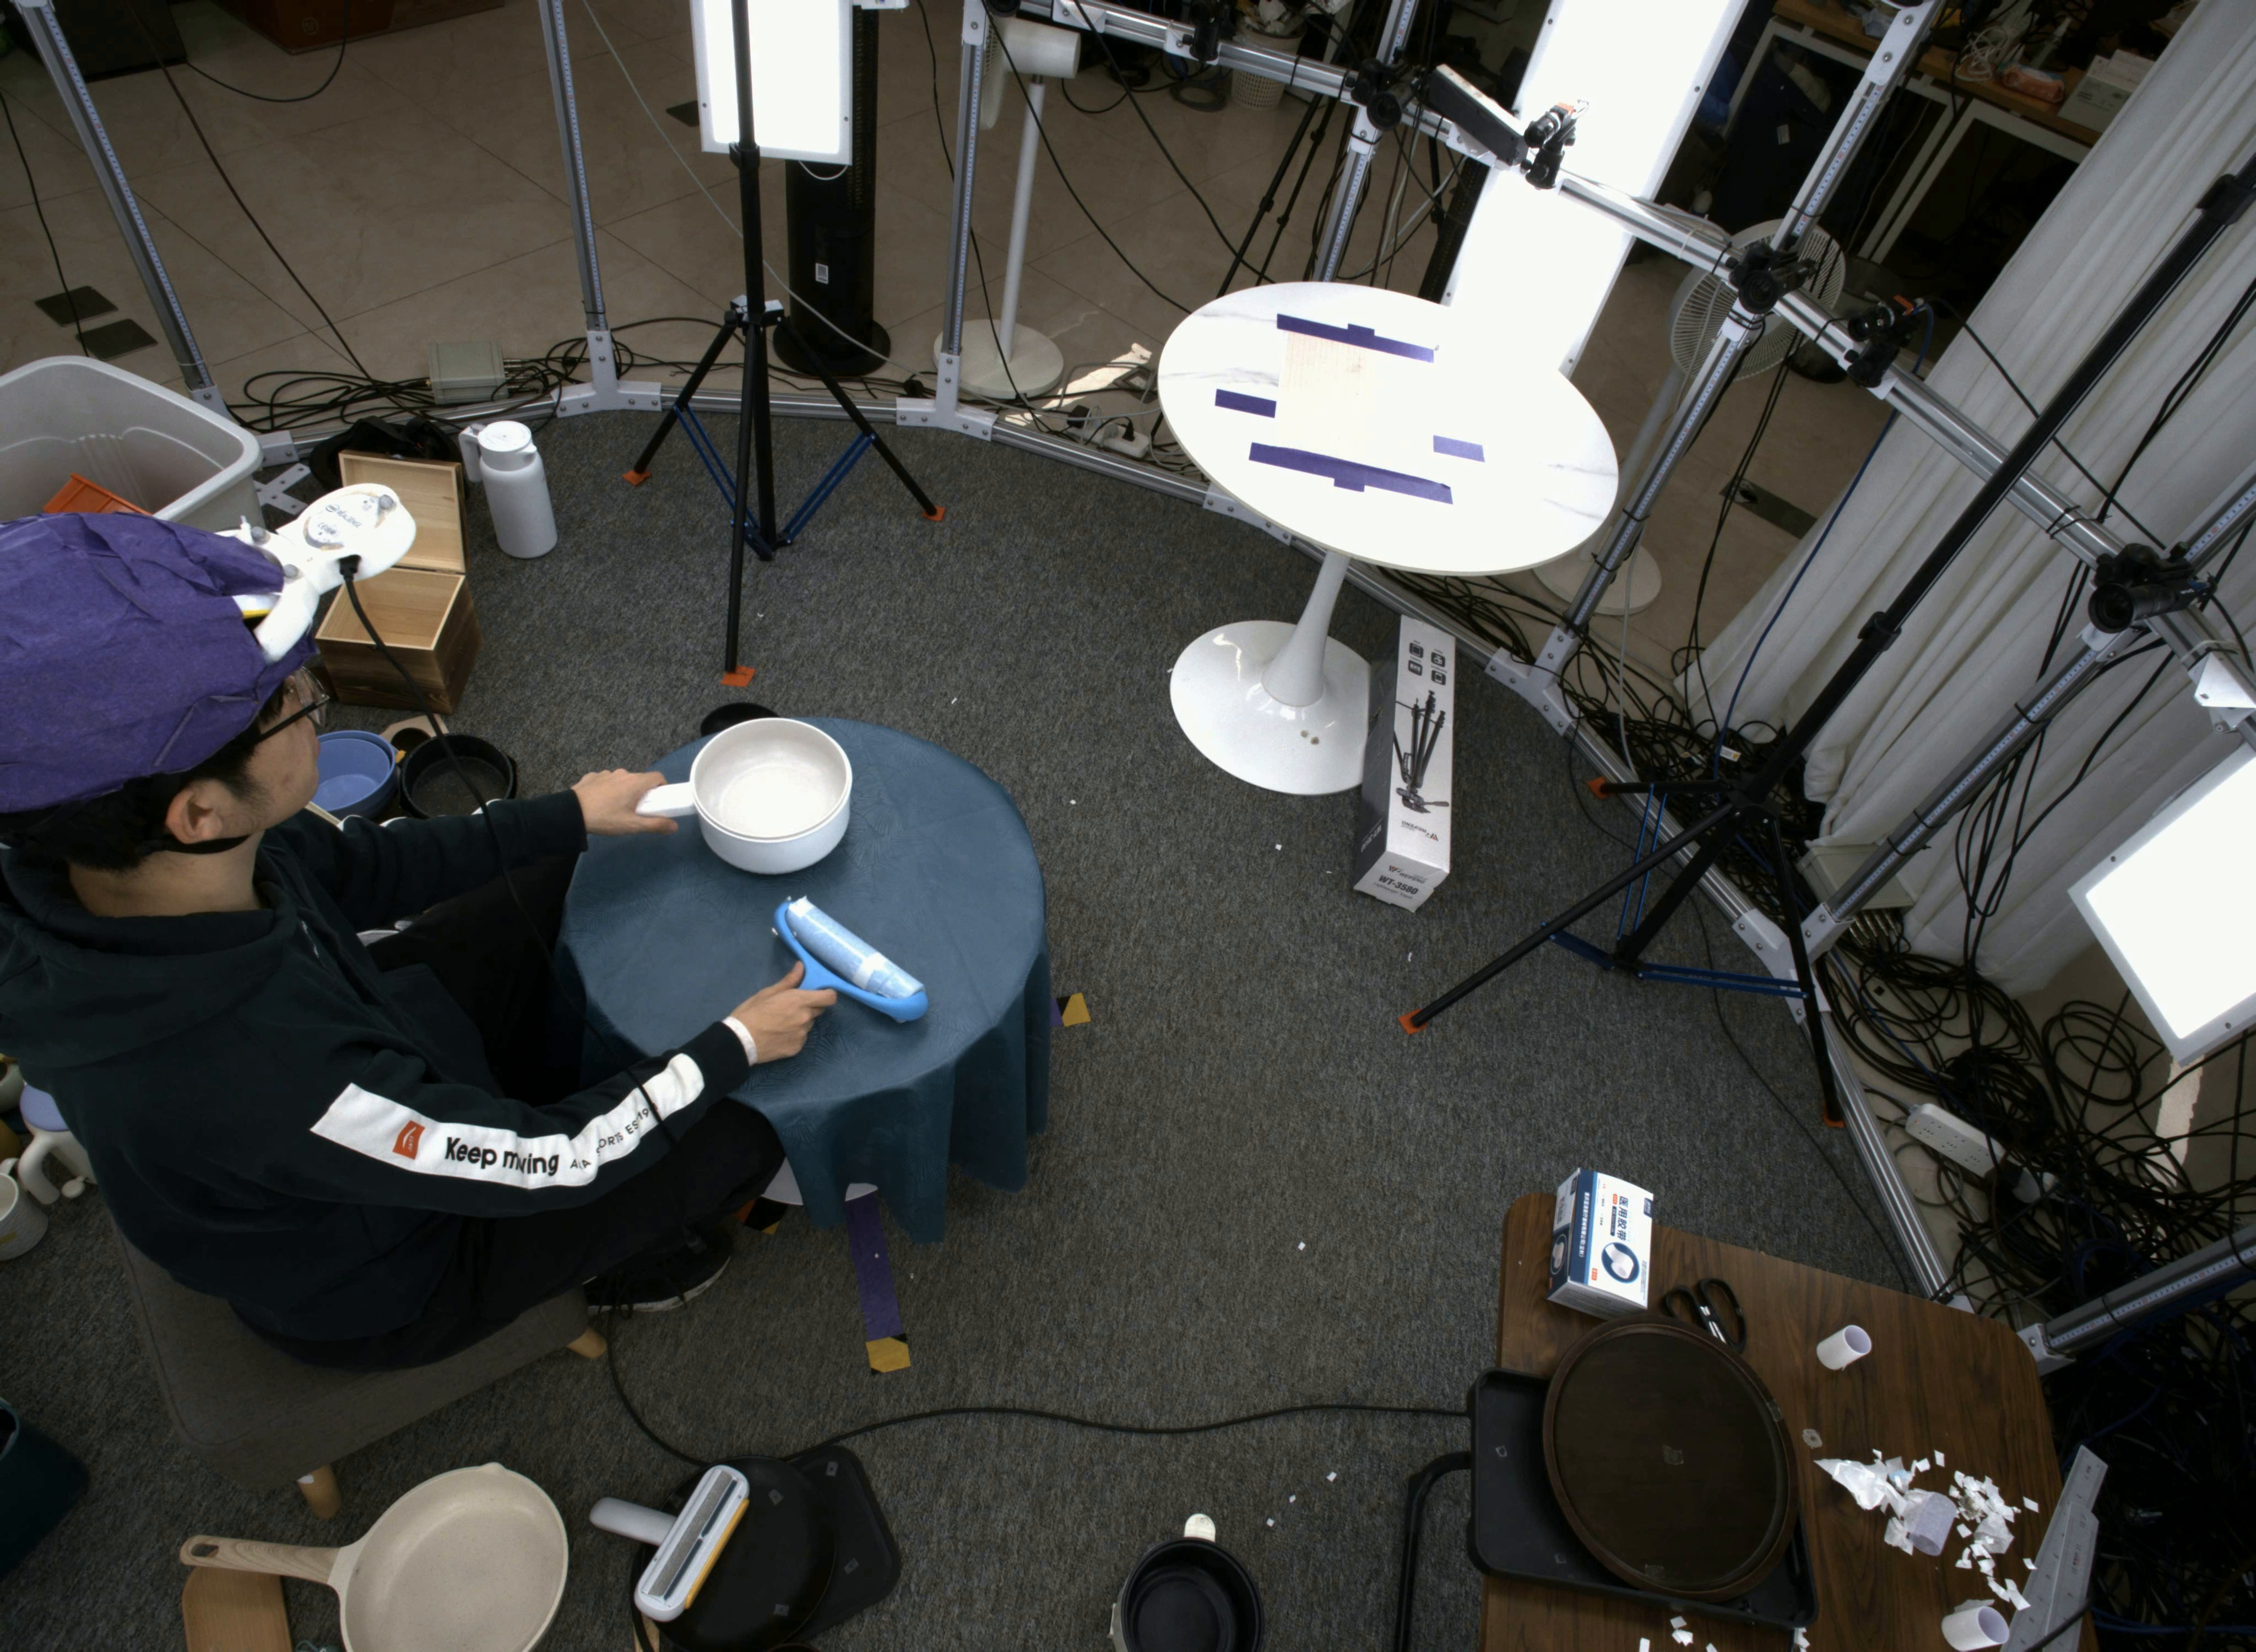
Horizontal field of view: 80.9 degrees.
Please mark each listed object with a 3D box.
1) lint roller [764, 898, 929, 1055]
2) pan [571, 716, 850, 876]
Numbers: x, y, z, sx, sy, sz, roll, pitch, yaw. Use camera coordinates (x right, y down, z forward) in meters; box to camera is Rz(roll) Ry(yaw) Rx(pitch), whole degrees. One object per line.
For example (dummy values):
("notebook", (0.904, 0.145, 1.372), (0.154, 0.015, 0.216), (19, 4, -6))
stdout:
("lint roller", (-0.370, 0.196, 1.561), (0.225, 0.069, 0.180), (33, 51, 8))
("pan", (-0.533, -0.022, 1.655), (0.356, 0.104, 0.196), (-10, 58, -19))
